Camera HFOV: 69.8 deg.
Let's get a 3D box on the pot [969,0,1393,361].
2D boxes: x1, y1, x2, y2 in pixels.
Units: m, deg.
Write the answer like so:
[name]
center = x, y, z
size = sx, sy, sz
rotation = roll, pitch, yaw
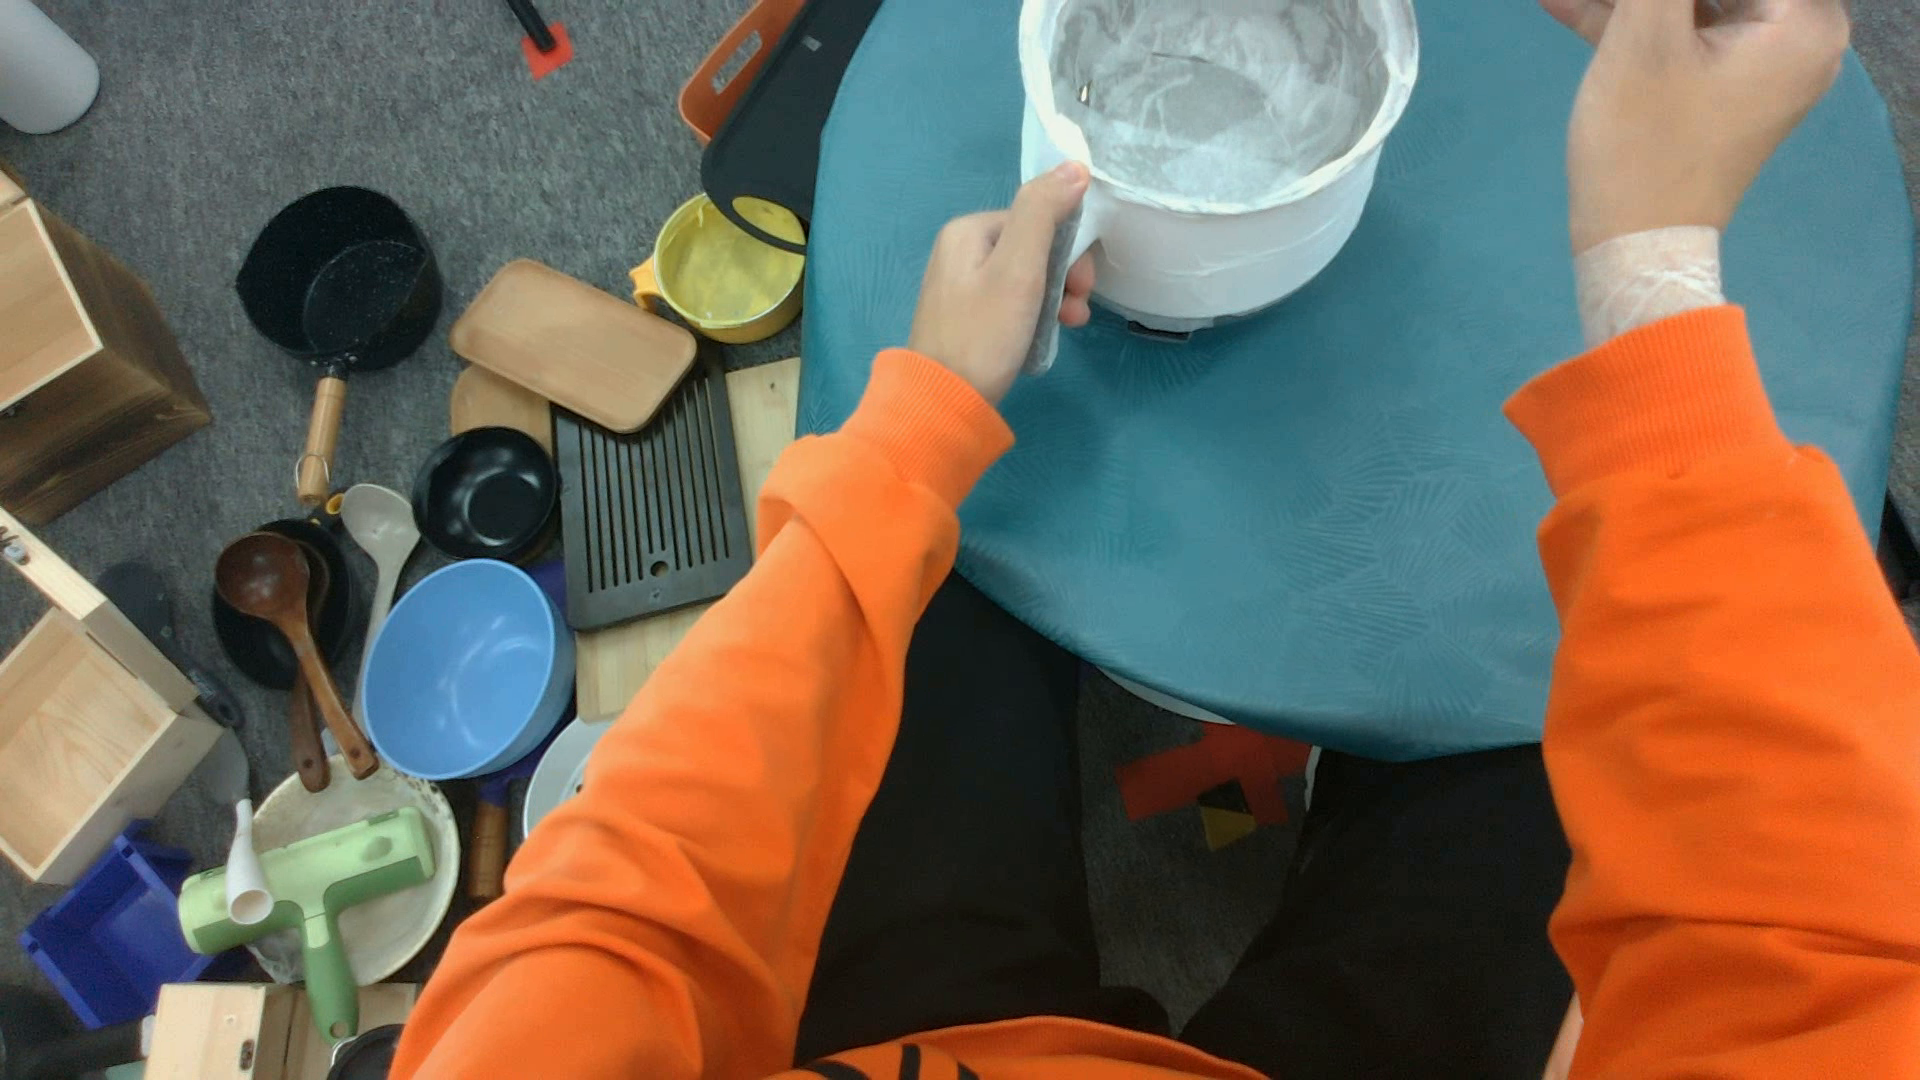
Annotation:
[pot]
center = 0.091, -0.192, 0.674
size = 0.179, 0.136, 0.234
rotation = 38, 78, 14
